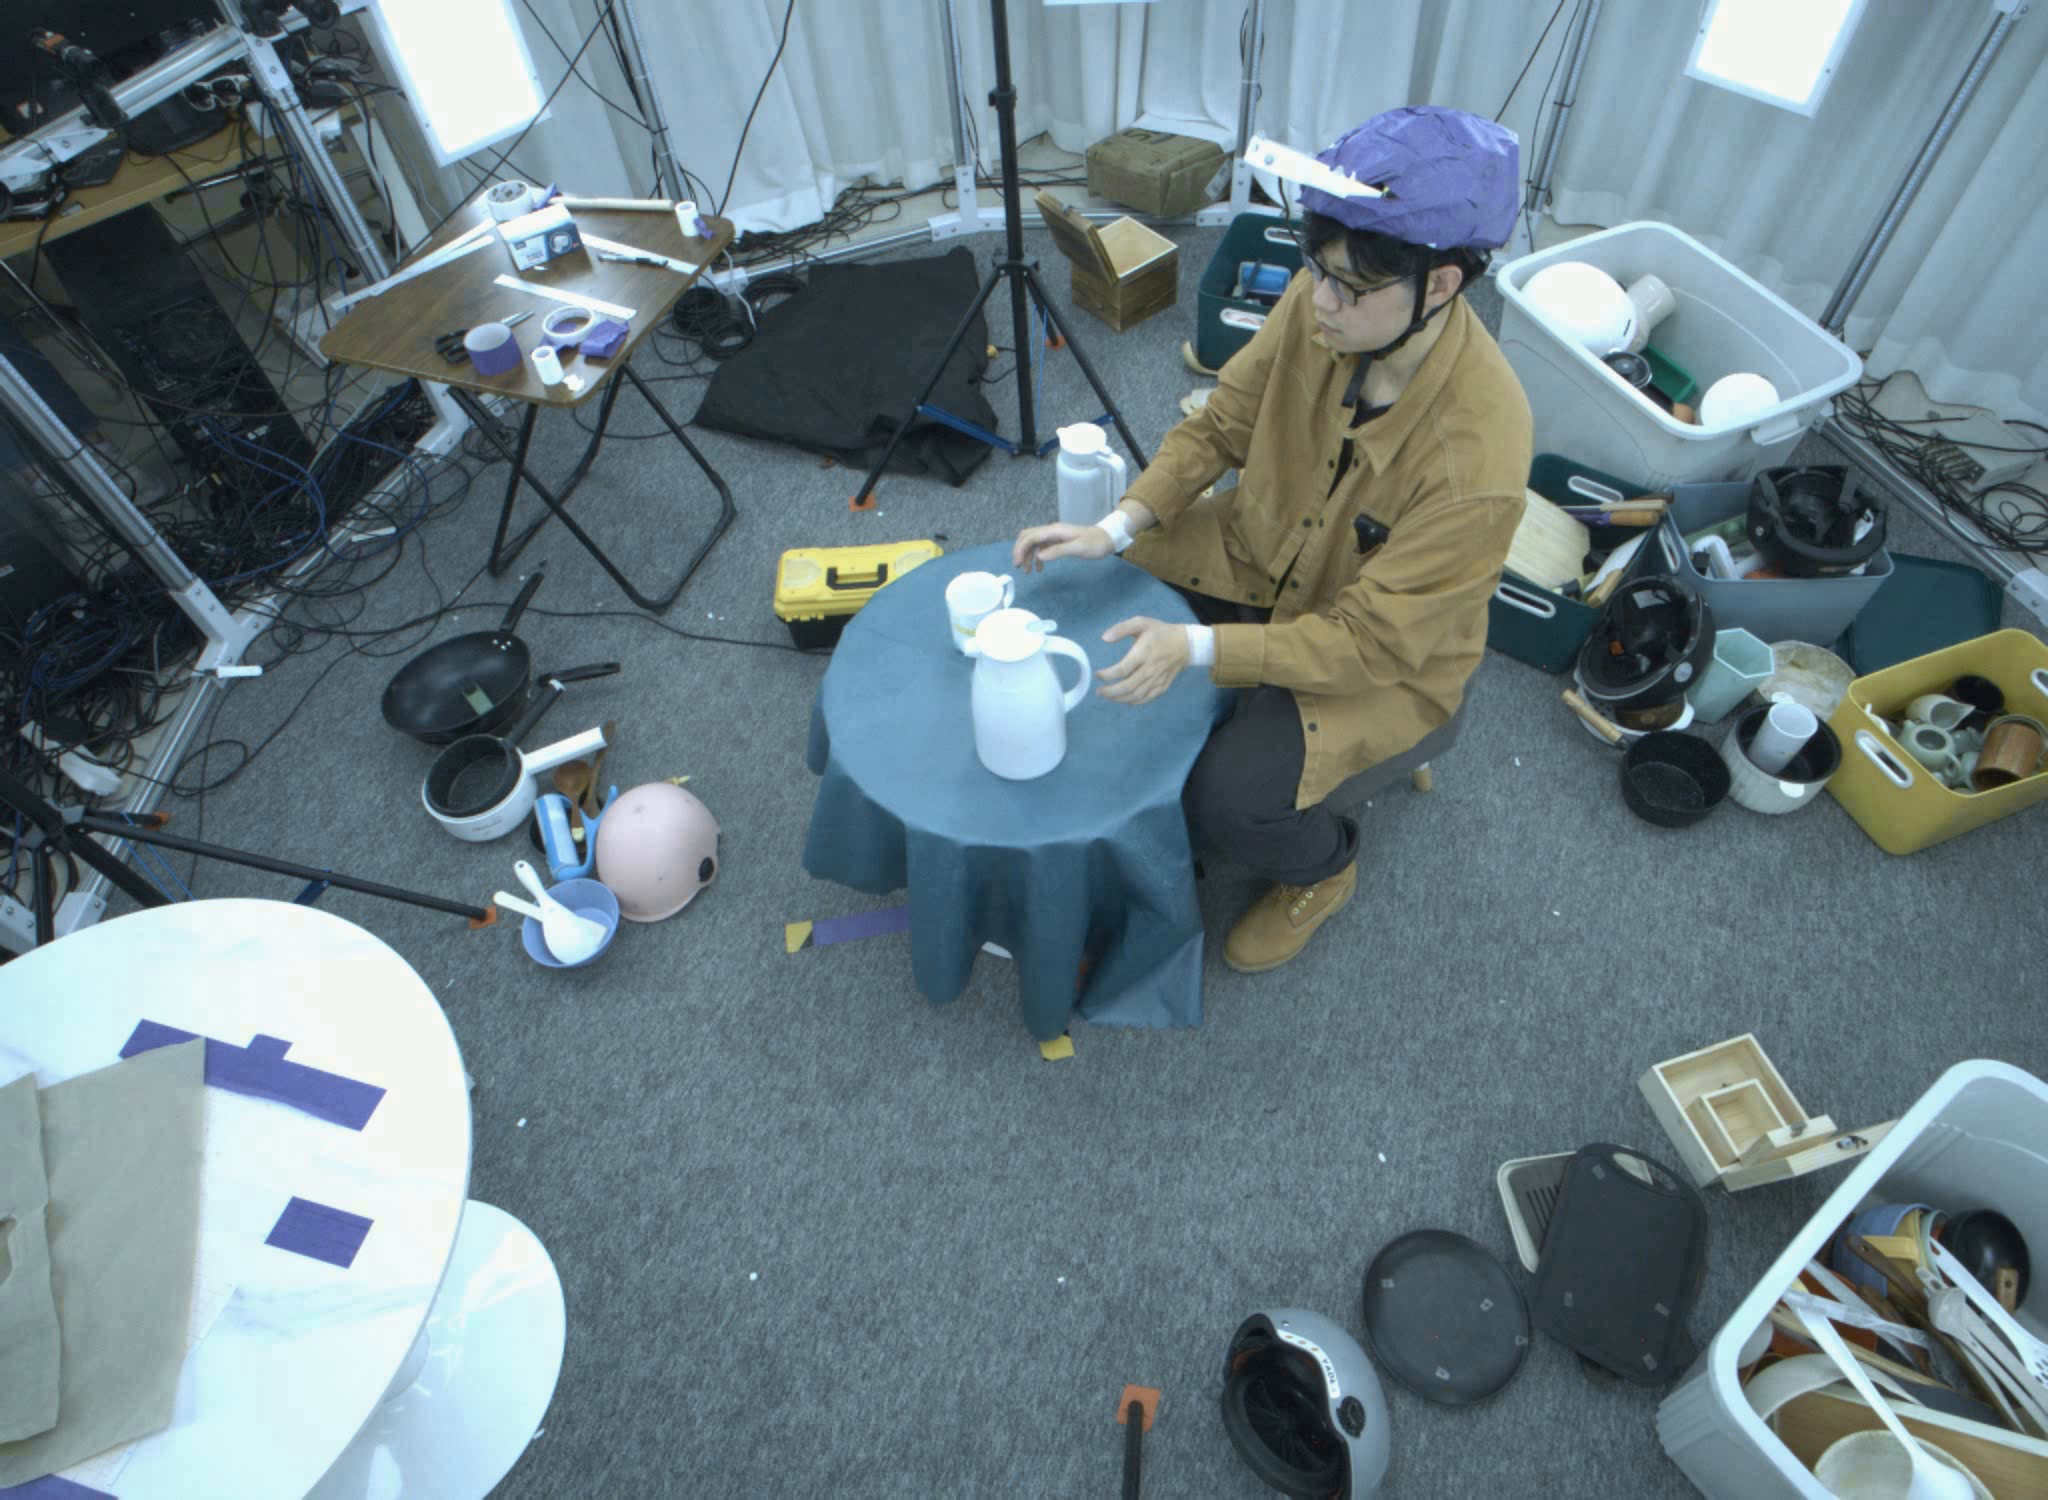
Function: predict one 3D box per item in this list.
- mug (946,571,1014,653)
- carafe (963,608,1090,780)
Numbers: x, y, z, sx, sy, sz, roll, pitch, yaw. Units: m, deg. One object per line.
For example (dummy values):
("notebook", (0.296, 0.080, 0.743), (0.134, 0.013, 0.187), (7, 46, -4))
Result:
("mug", (-0.062, -0.217, 1.876), (0.083, 0.103, 0.119), (36, 63, 25))
("carafe", (0.007, -0.086, 1.691), (0.168, 0.251, 0.131), (-7, 53, -2))
